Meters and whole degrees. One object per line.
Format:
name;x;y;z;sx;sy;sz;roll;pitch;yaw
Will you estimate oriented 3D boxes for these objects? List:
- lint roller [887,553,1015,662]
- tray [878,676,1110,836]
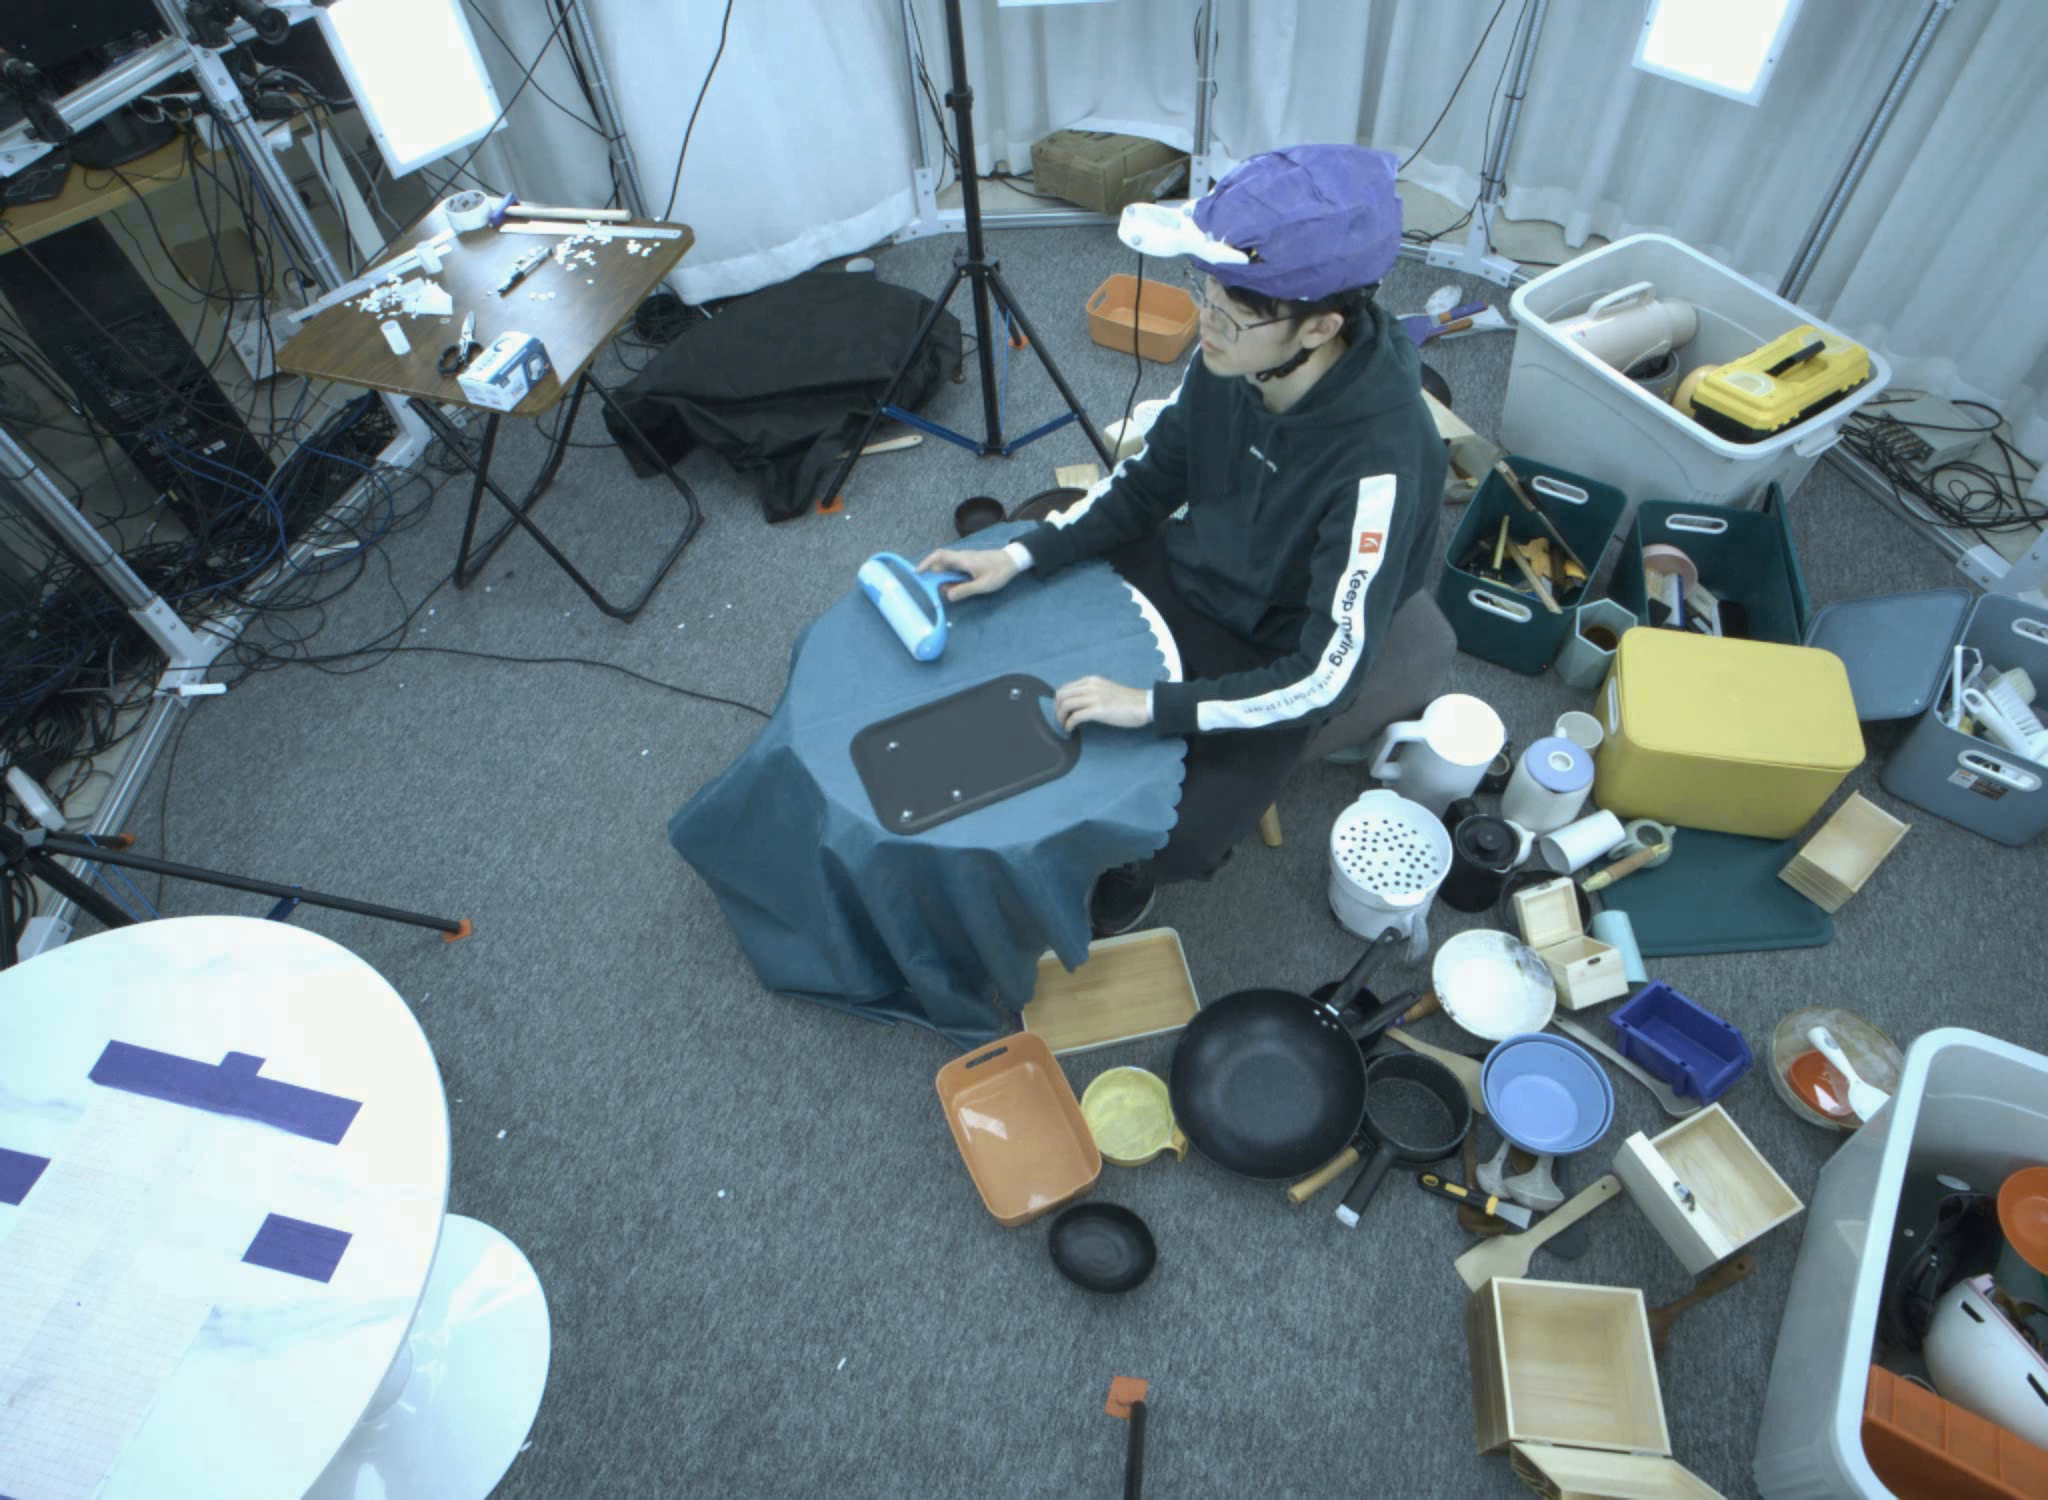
lint roller;-0.098;-0.248;1.927;0.181;0.069;0.224;-30;57;-16
tray;-0.040;-0.001;1.780;0.327;0.010;0.207;-19;56;-11
